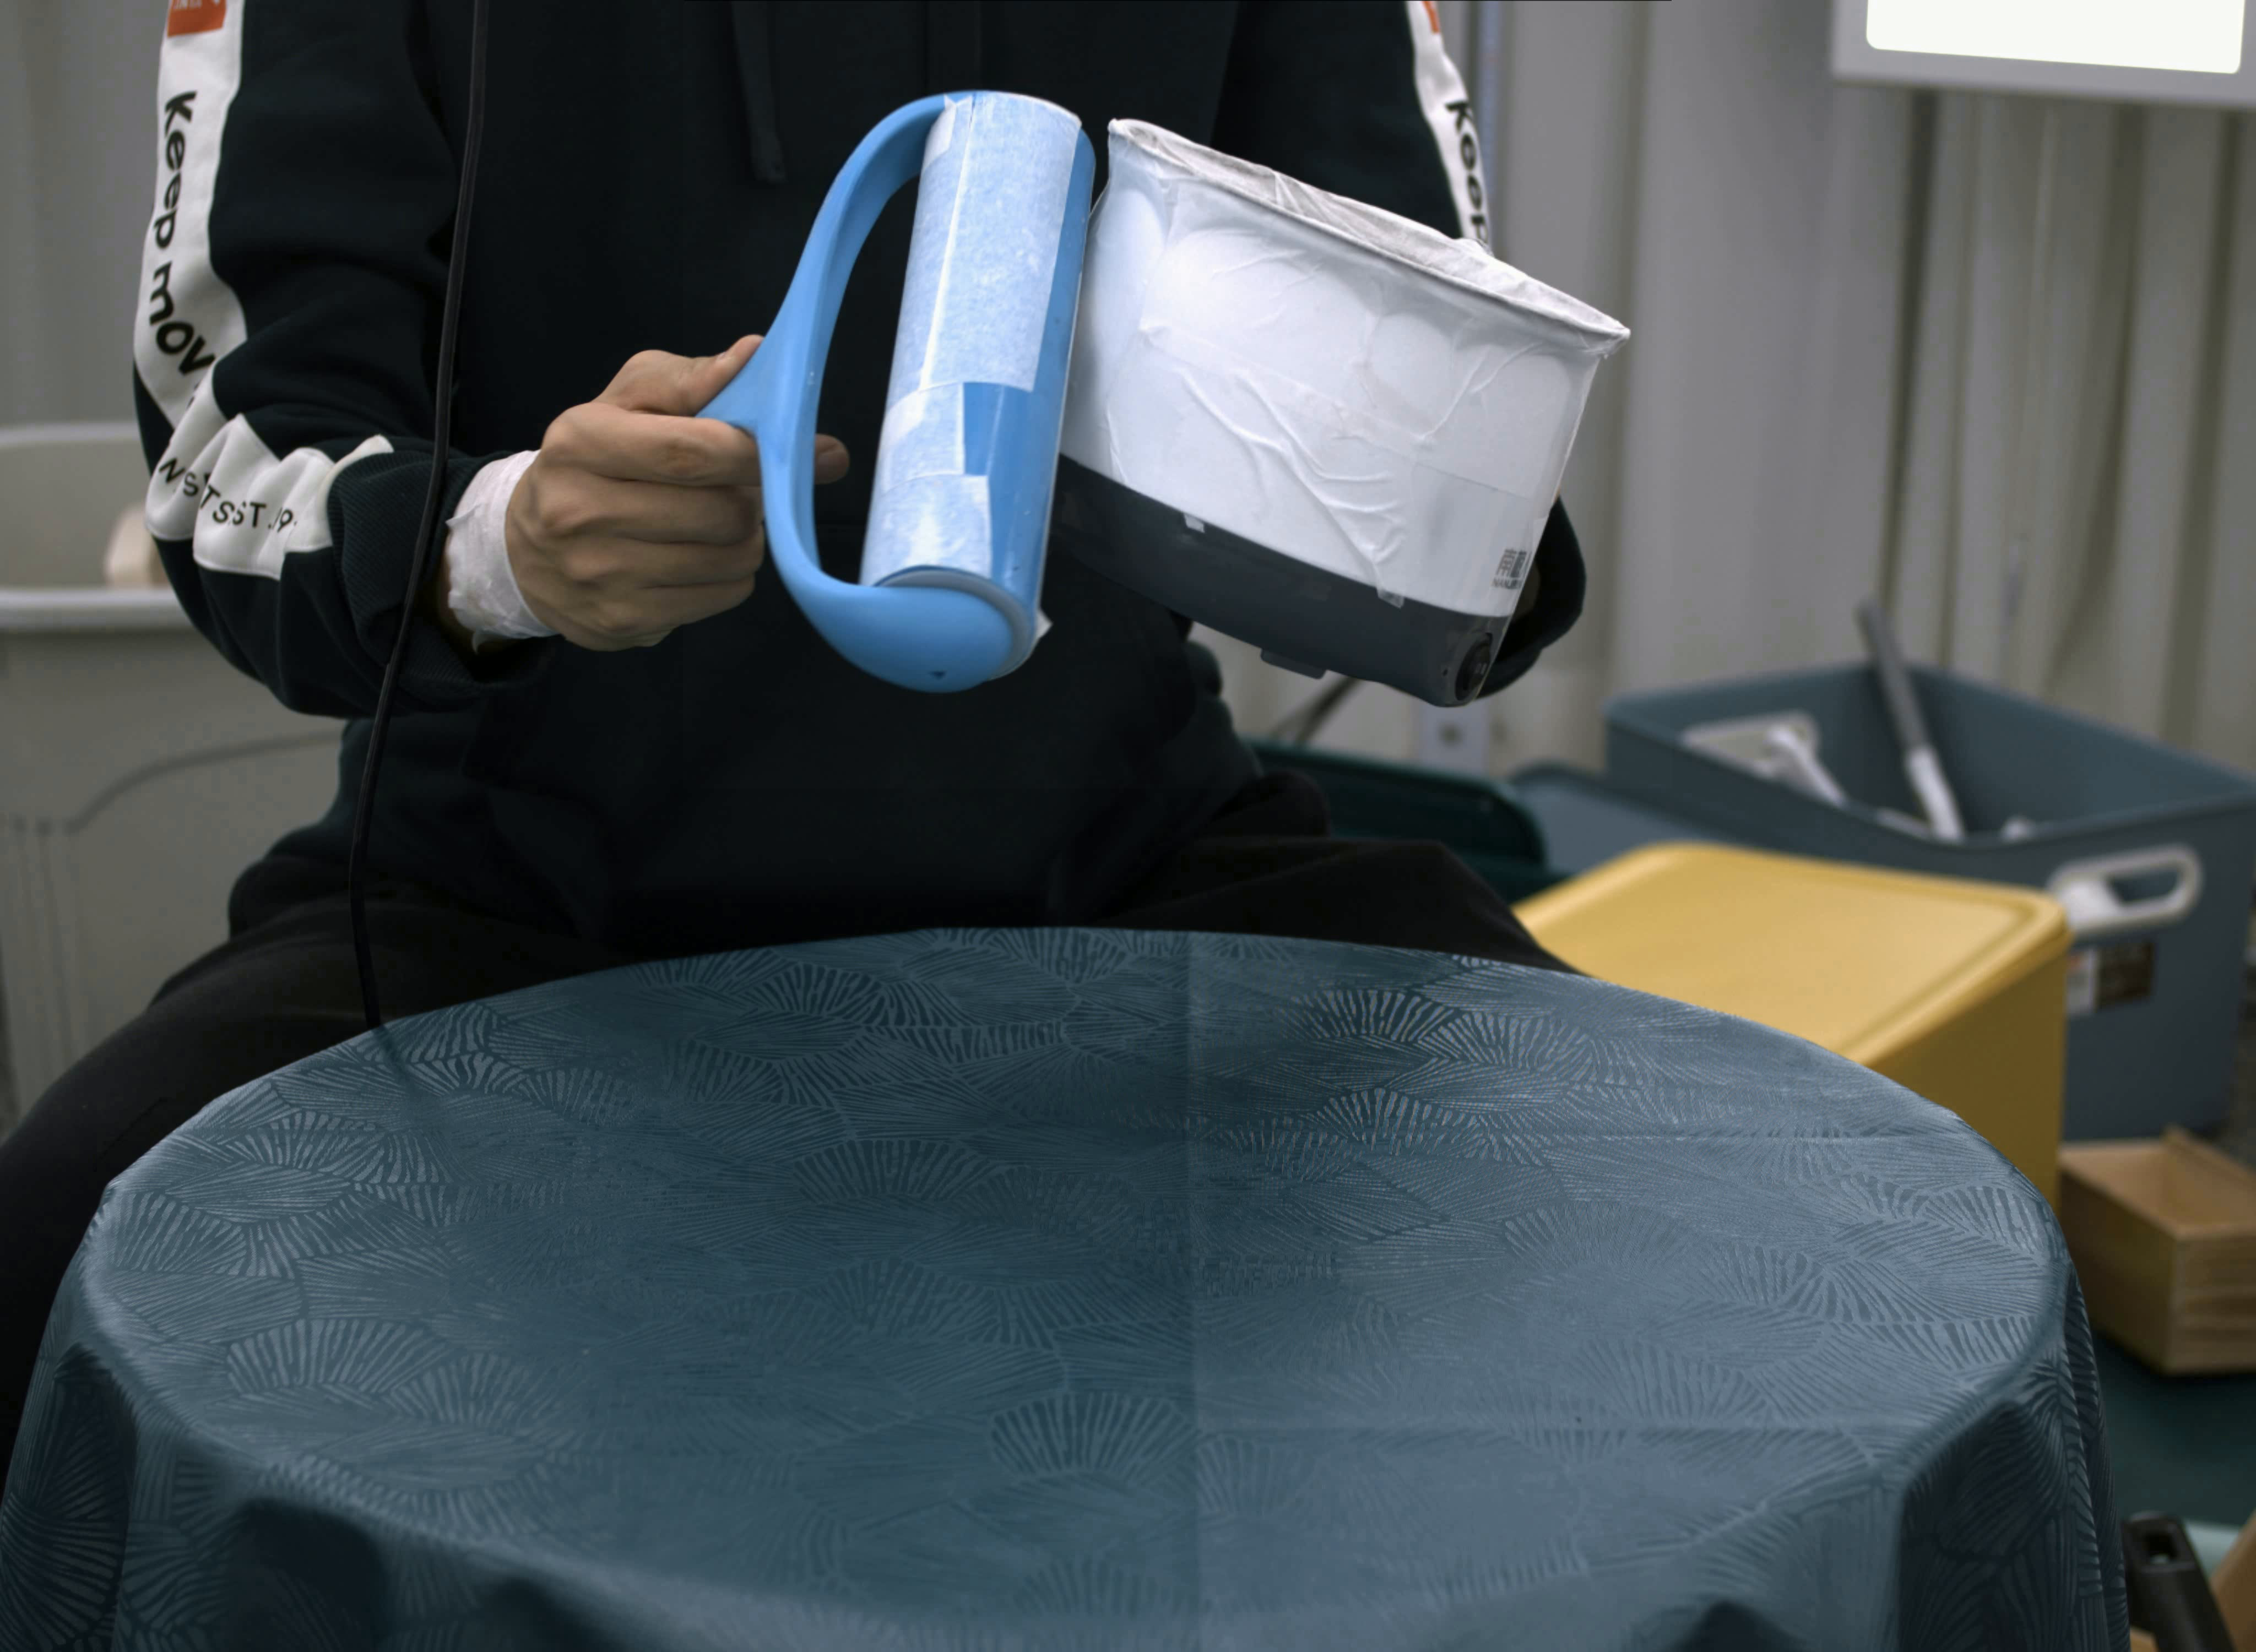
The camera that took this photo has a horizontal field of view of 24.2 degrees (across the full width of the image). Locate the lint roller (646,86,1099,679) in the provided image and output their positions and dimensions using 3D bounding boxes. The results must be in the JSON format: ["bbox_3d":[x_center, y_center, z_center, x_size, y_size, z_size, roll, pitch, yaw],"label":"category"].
[{"bbox_3d":[-0.093,-0.117,1.610,0.179,0.069,0.227,-22,46,27],"label":"lint roller"}]

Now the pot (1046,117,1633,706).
[{"bbox_3d":[0.064,-0.132,1.688,0.177,0.137,0.235,26,11,19],"label":"pot"}]
